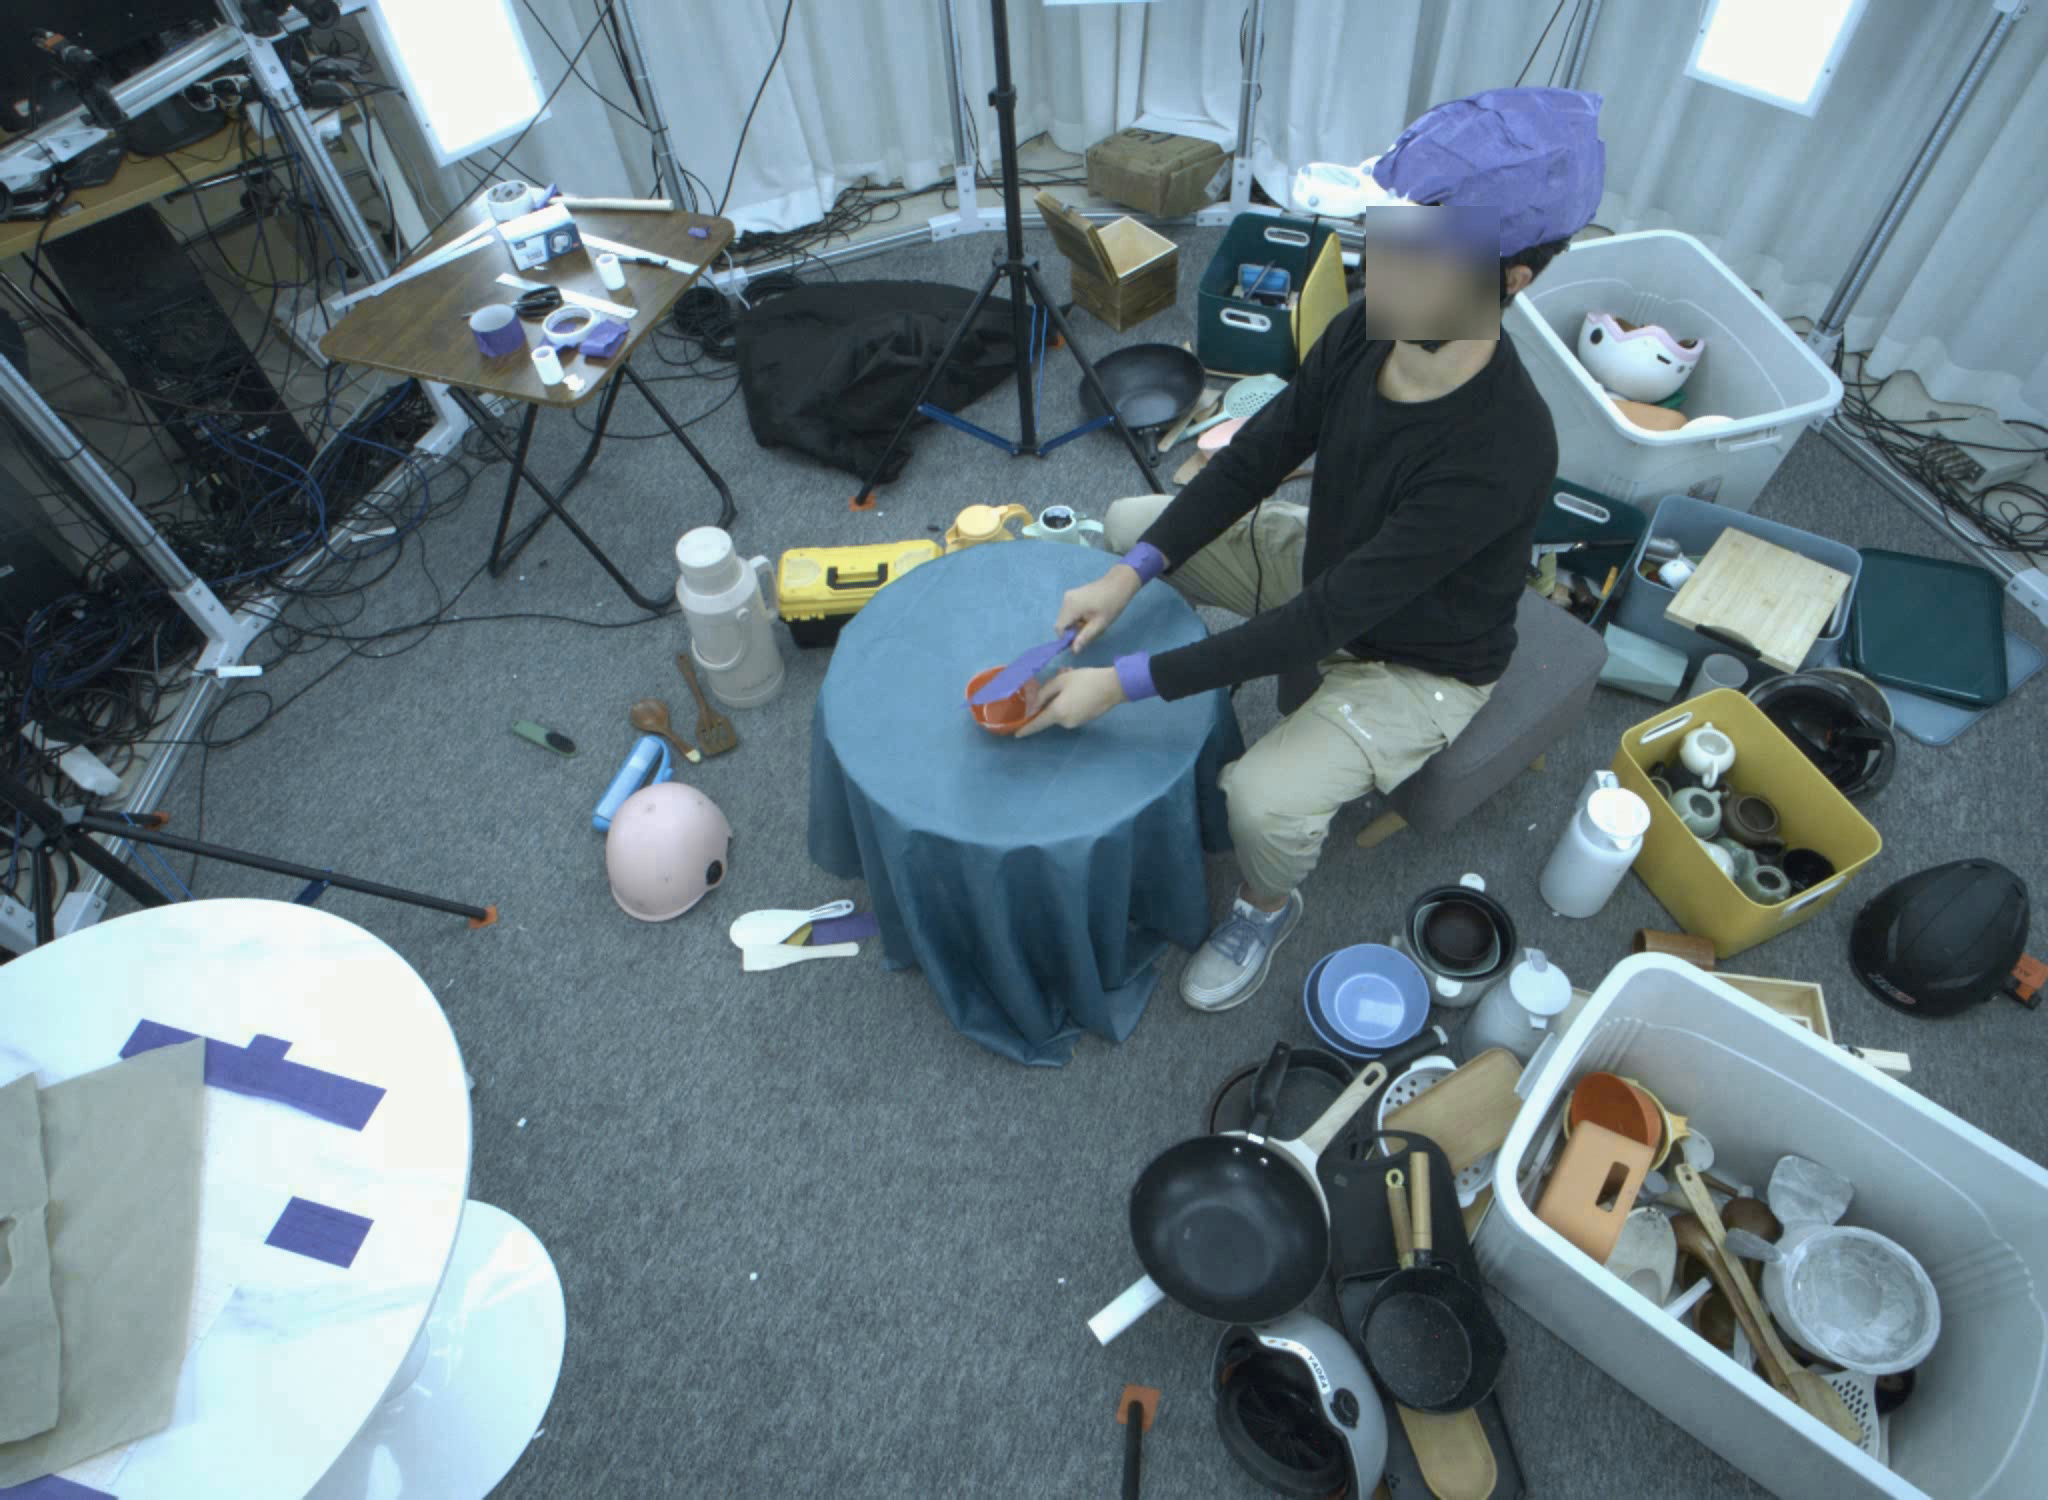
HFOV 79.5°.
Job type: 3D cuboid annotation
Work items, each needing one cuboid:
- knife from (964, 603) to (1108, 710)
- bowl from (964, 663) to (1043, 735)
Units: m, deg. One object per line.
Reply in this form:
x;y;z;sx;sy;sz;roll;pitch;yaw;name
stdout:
0.017;-0.139;1.786;0.102;0.032;0.318;-10;21;36;knife
-0.027;-0.067;1.797;0.118;0.052;0.117;-2;54;4;bowl
